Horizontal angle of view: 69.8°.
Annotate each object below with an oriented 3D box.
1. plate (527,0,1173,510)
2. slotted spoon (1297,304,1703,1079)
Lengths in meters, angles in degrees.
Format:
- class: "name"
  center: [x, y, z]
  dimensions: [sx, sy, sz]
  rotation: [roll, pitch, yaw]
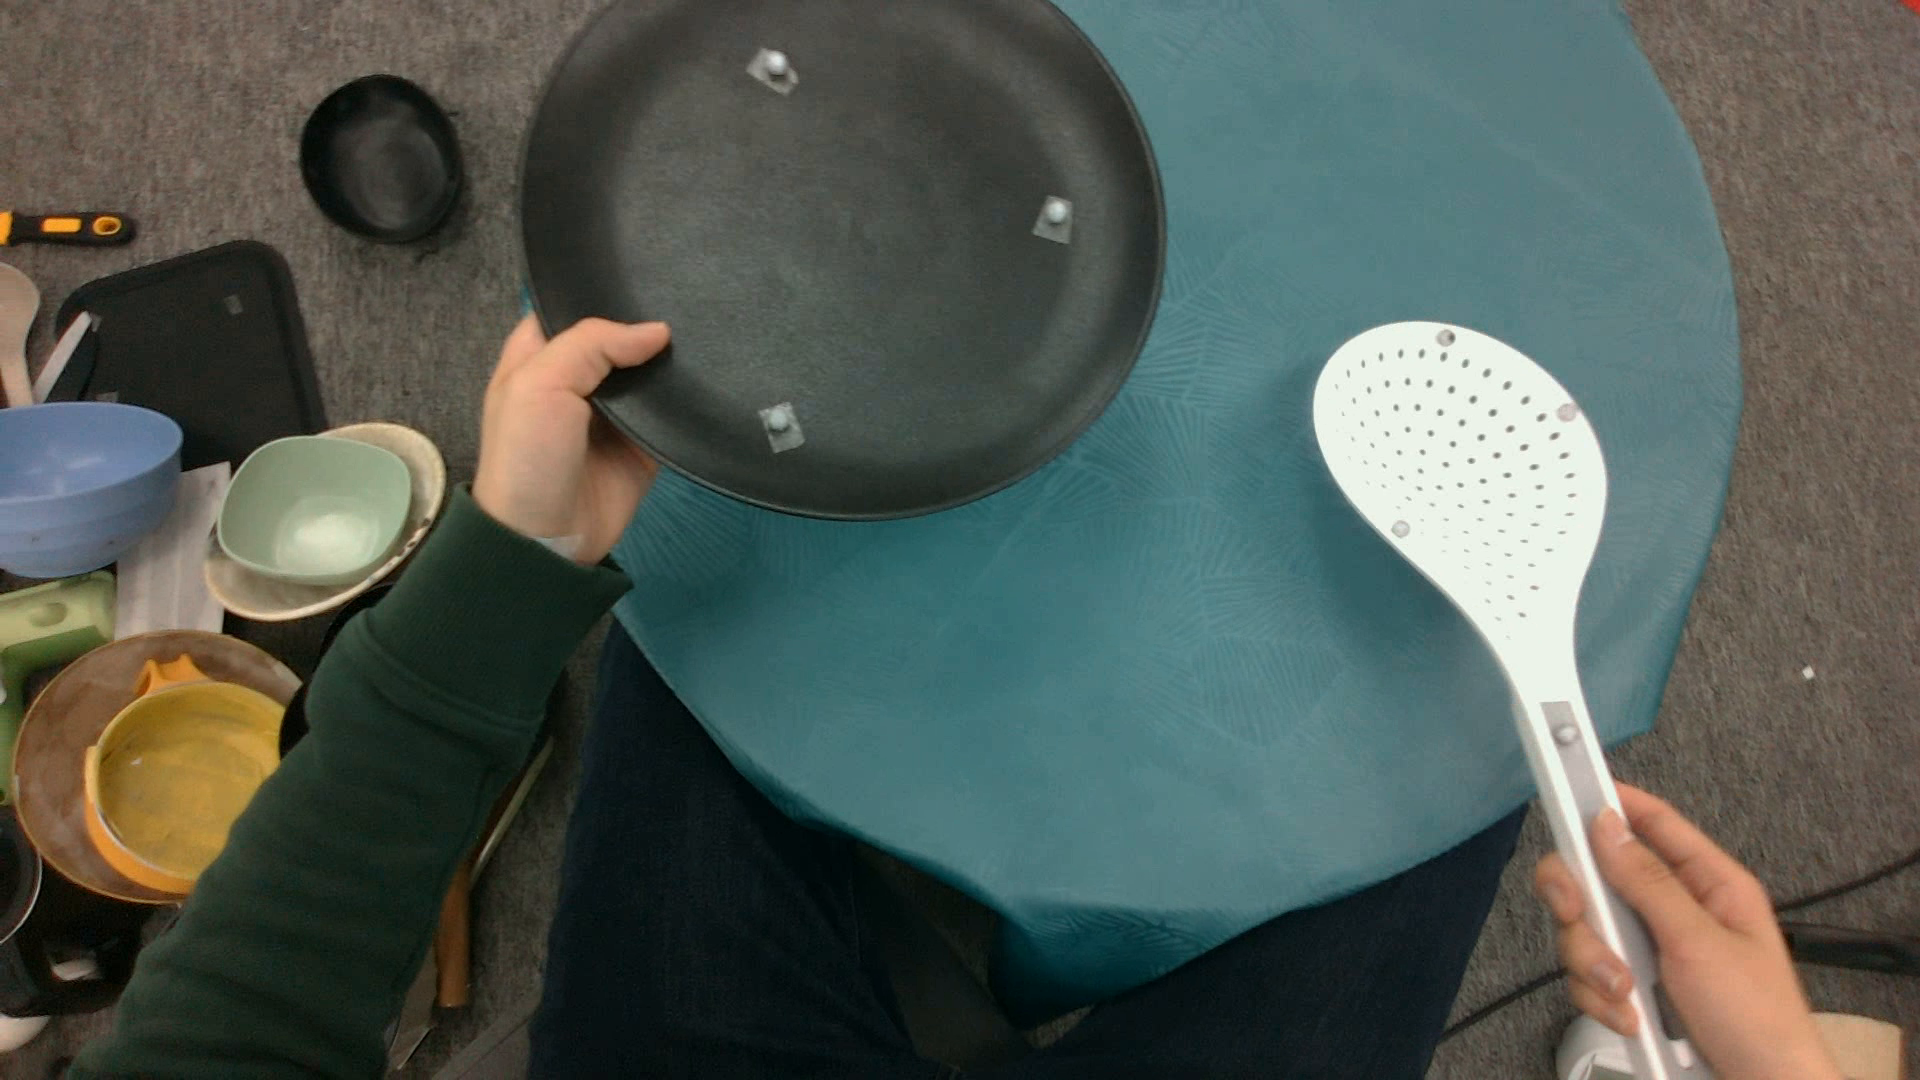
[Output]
- class: "plate"
  center: [-0.040, -0.126, 0.529]
  dimensions: [0.244, 0.023, 0.245]
  rotation: [1, 75, -5]
- class: "slotted spoon"
  center: [0.227, 0.046, 0.569]
  dimensions: [0.136, 0.045, 0.351]
  rotation: [0, 56, -17]
